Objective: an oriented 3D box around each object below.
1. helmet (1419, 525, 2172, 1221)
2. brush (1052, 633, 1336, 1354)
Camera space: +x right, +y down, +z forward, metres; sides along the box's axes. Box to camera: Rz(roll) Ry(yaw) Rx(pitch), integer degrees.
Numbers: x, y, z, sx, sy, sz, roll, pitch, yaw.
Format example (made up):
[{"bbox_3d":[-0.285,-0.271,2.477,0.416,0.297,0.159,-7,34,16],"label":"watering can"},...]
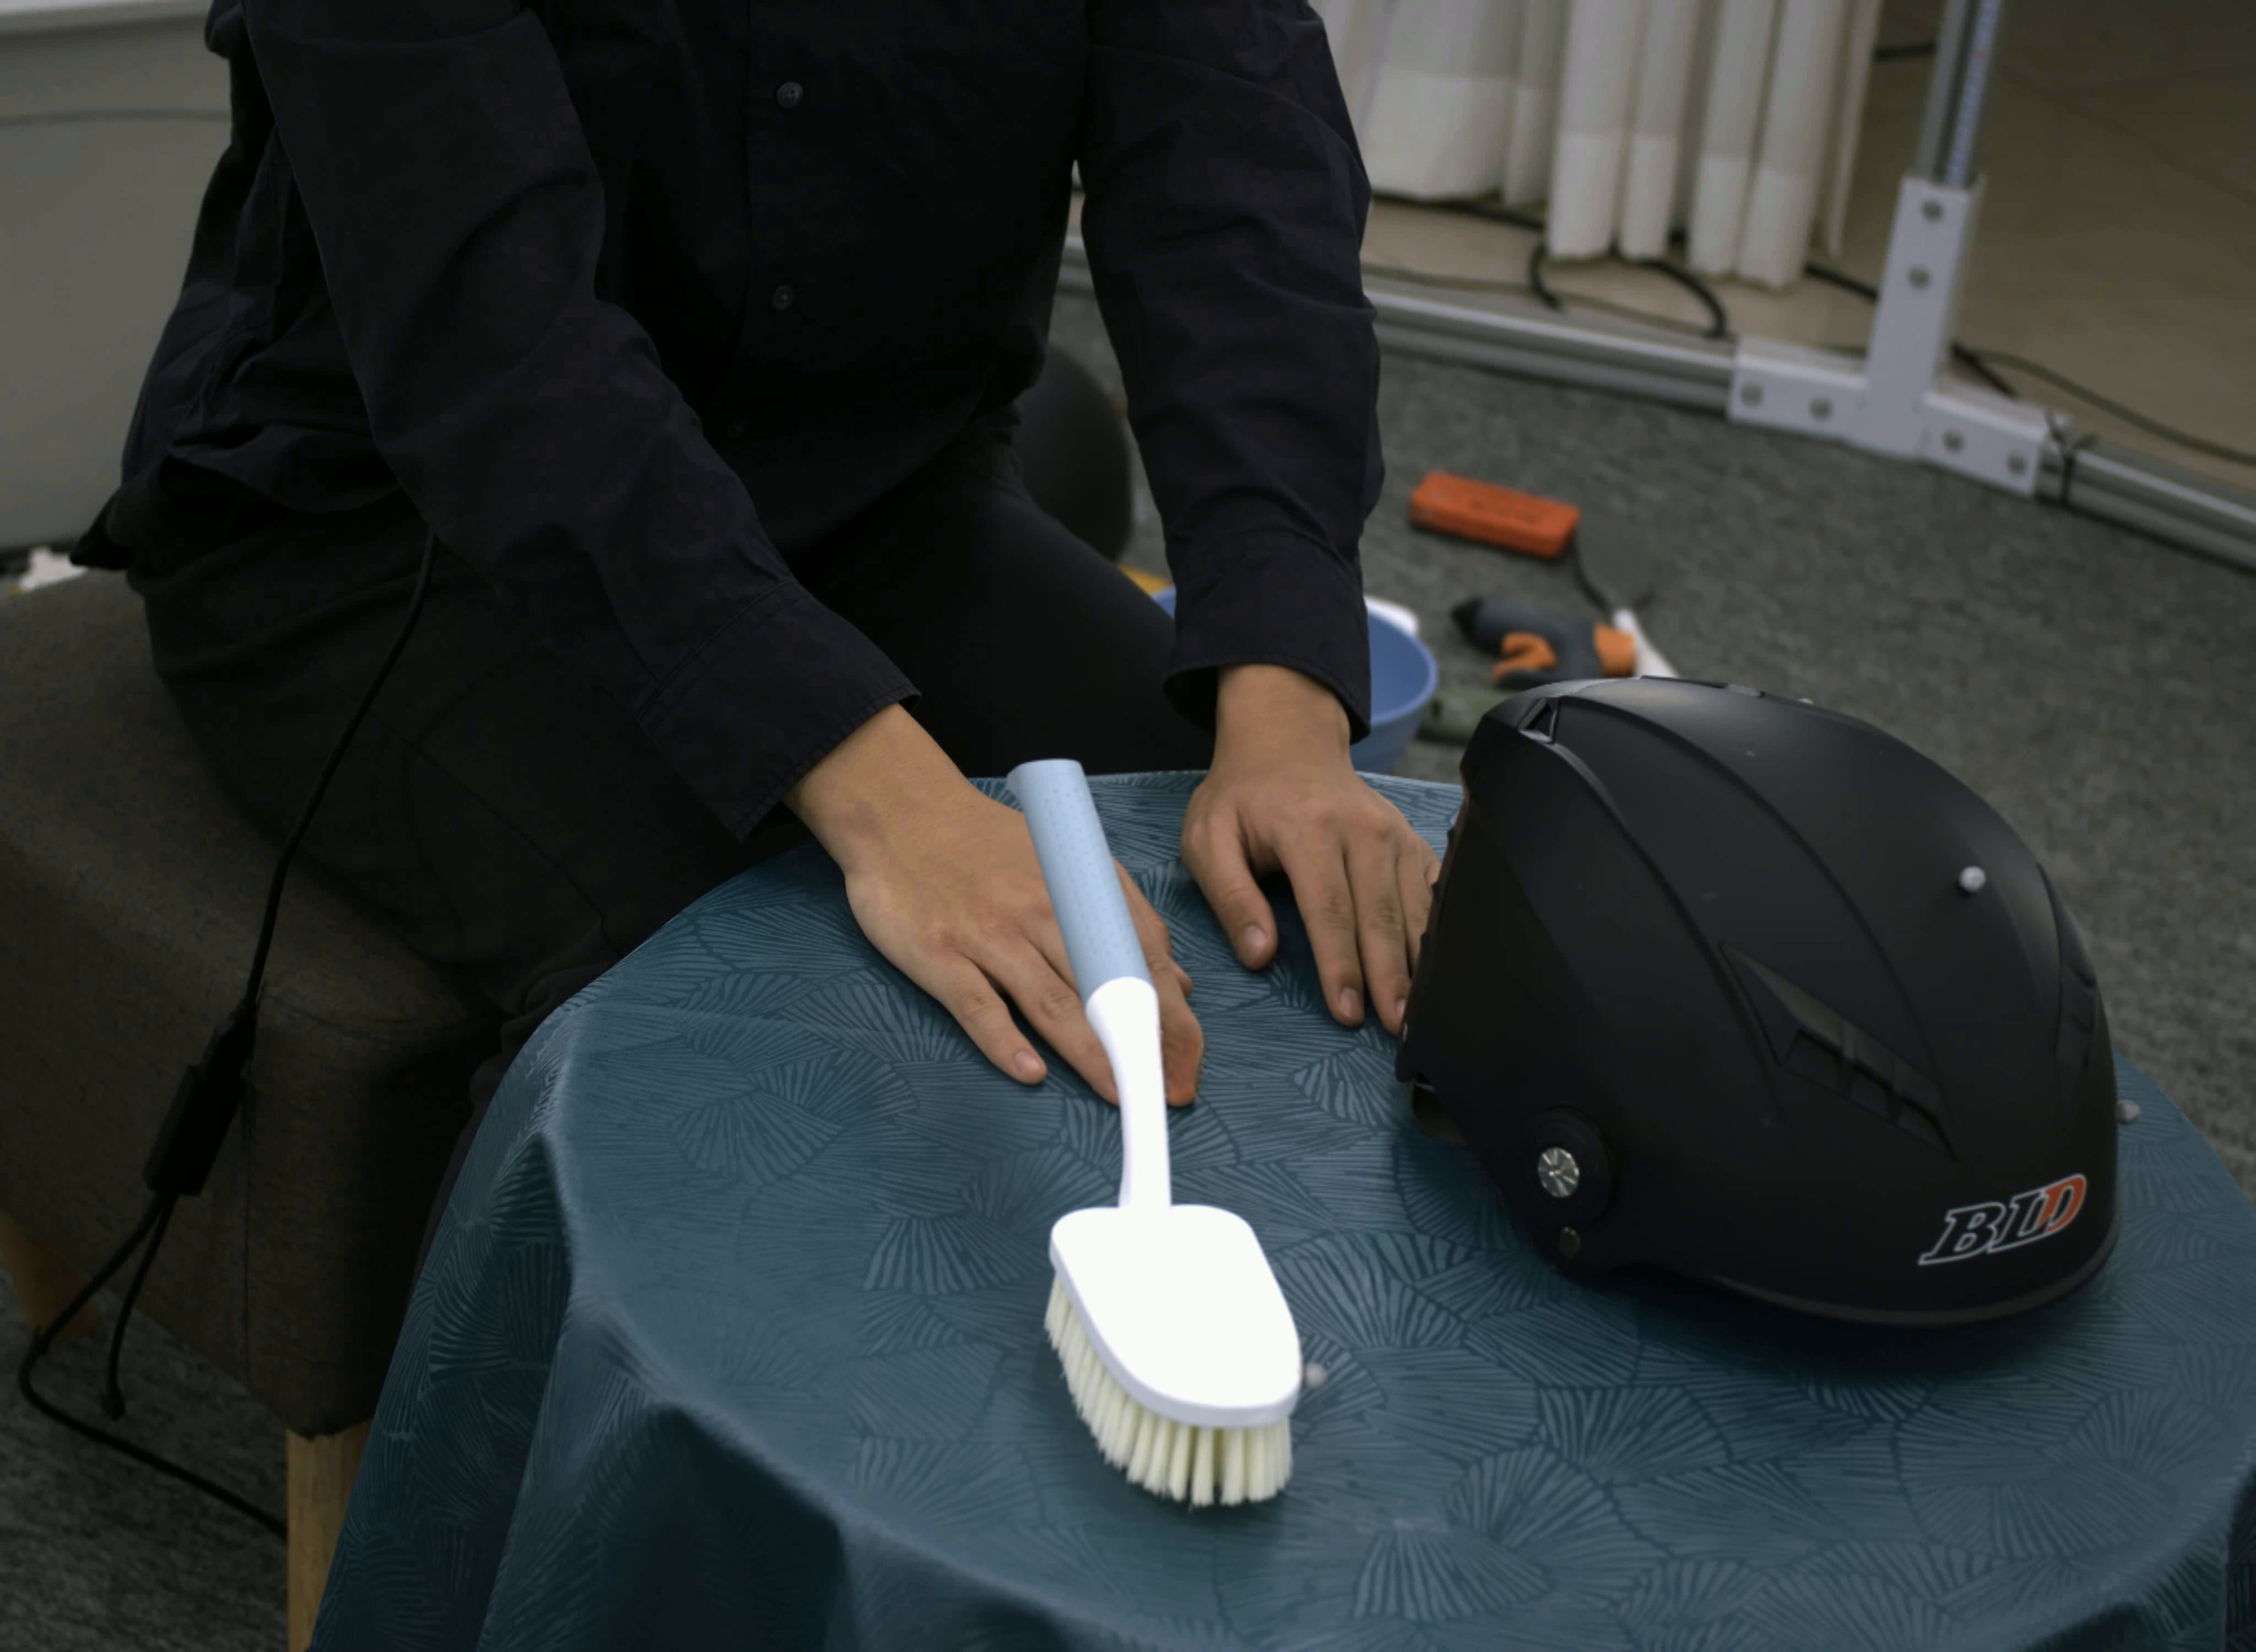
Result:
[{"bbox_3d":[0.236,0.006,1.848,0.245,0.172,0.279,-12,34,-31],"label":"helmet"},{"bbox_3d":[0.015,0.063,1.777,0.082,0.084,0.328,33,25,-35],"label":"brush"}]
